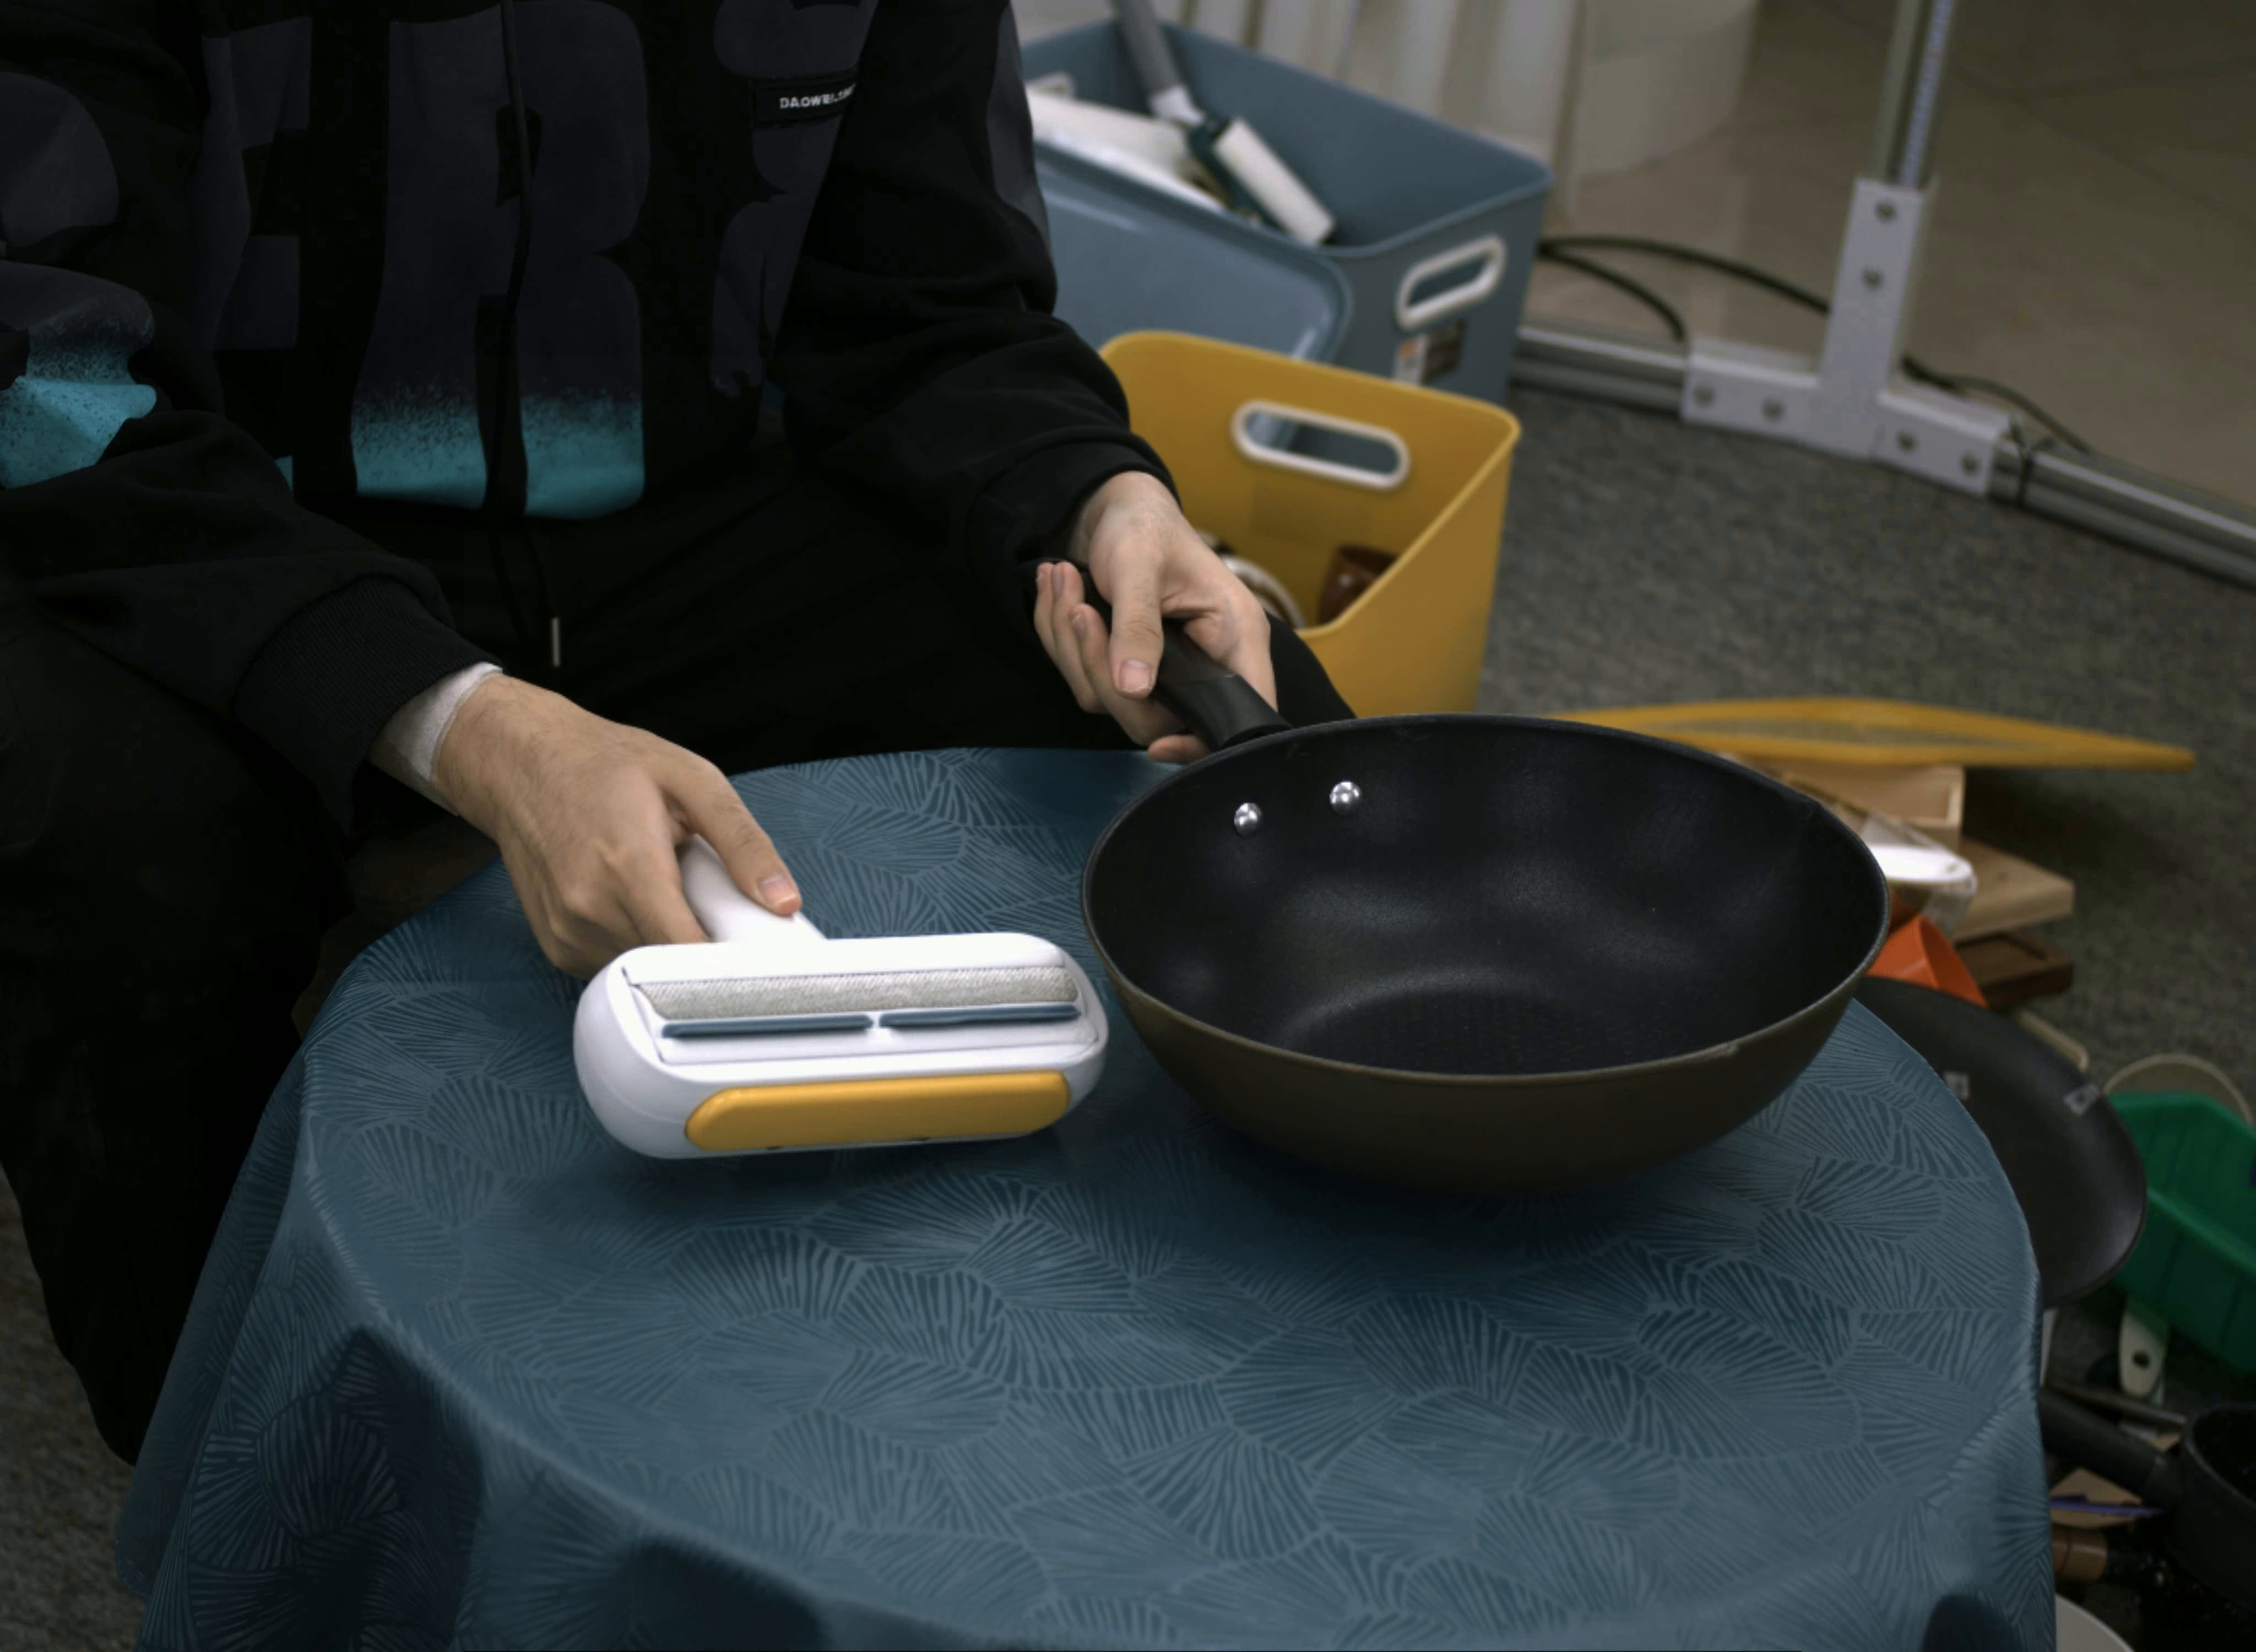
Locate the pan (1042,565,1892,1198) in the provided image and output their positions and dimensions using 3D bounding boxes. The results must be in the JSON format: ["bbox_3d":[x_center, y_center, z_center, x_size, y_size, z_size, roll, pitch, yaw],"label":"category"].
[{"bbox_3d":[0.078,0.021,1.926,0.286,0.086,0.467,-13,29,-25],"label":"pan"}]

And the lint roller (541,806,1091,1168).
[{"bbox_3d":[-0.126,0.043,1.829,0.191,0.074,0.194,-3,40,-26],"label":"lint roller"}]
